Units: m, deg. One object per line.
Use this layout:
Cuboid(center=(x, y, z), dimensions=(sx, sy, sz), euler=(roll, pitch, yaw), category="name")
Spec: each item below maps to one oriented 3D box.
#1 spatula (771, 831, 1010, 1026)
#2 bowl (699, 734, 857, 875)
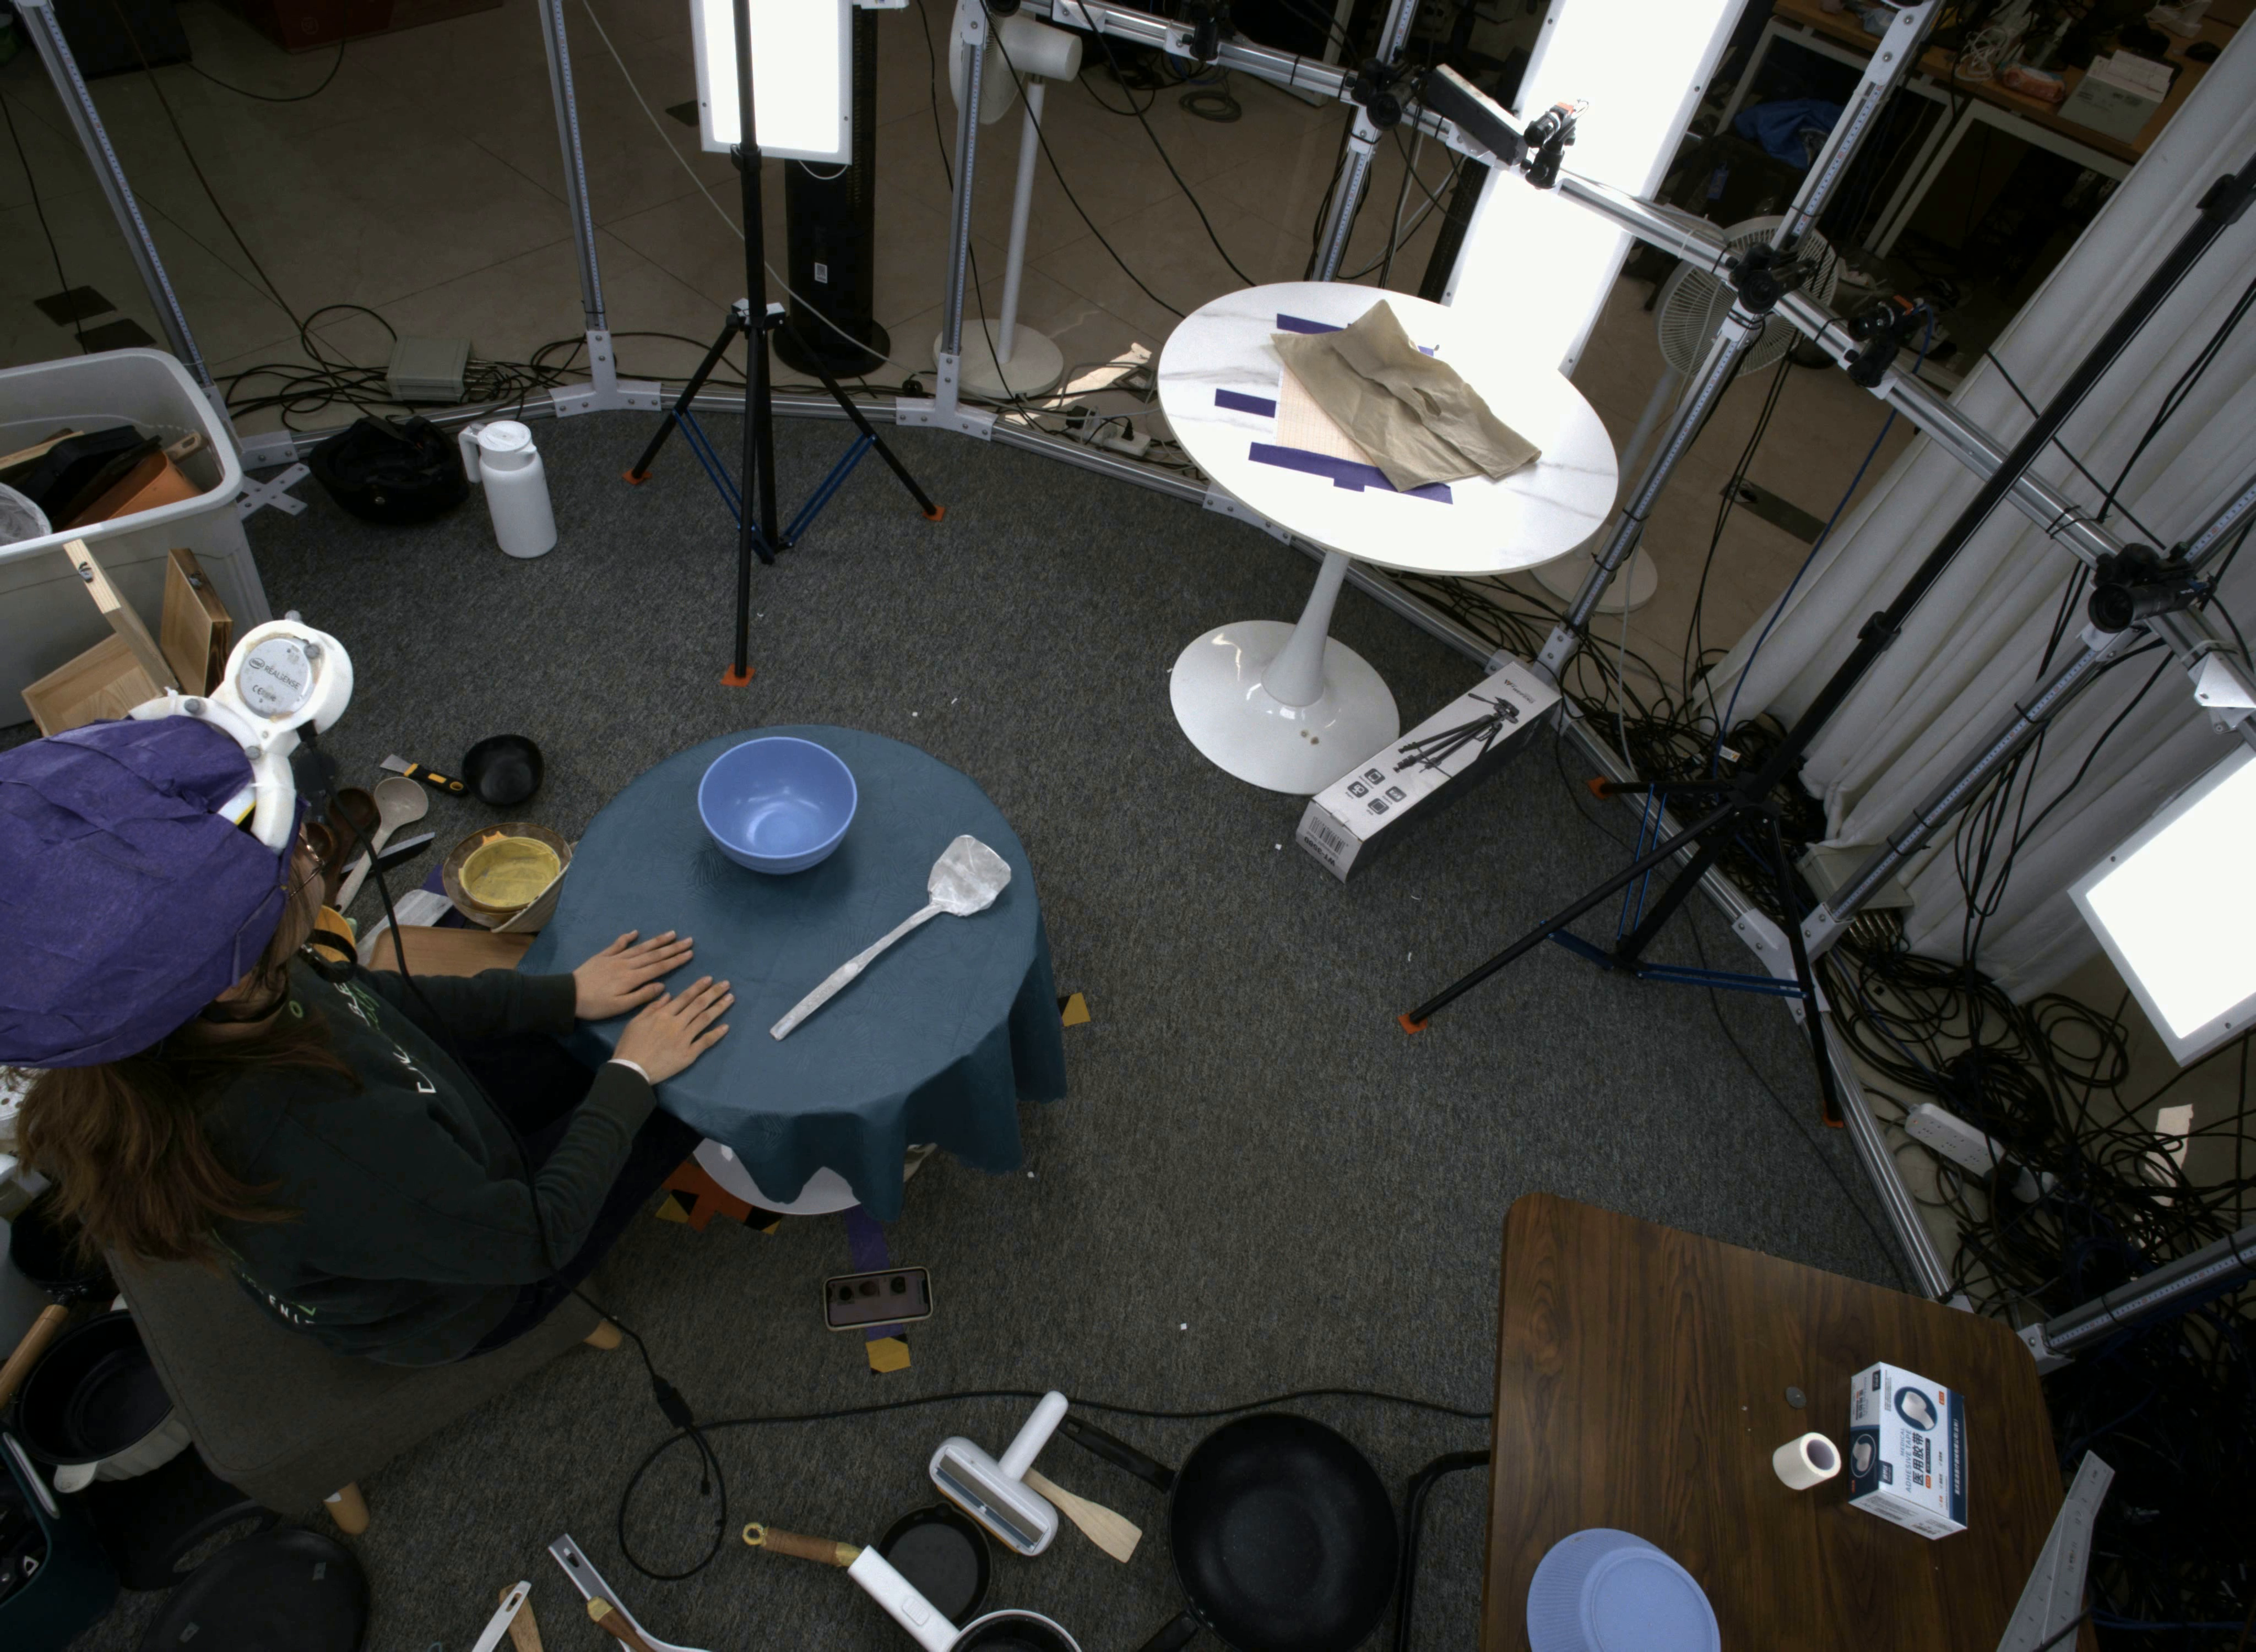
Cuboid(center=(-0.300, 0.134, 1.637), dimensions=(0.097, 0.045, 0.365), euler=(41, 55, 15), category="spatula")
Cuboid(center=(-0.449, -0.013, 1.670), dimensions=(0.196, 0.097, 0.193), euler=(9, 52, -9), category="bowl")
